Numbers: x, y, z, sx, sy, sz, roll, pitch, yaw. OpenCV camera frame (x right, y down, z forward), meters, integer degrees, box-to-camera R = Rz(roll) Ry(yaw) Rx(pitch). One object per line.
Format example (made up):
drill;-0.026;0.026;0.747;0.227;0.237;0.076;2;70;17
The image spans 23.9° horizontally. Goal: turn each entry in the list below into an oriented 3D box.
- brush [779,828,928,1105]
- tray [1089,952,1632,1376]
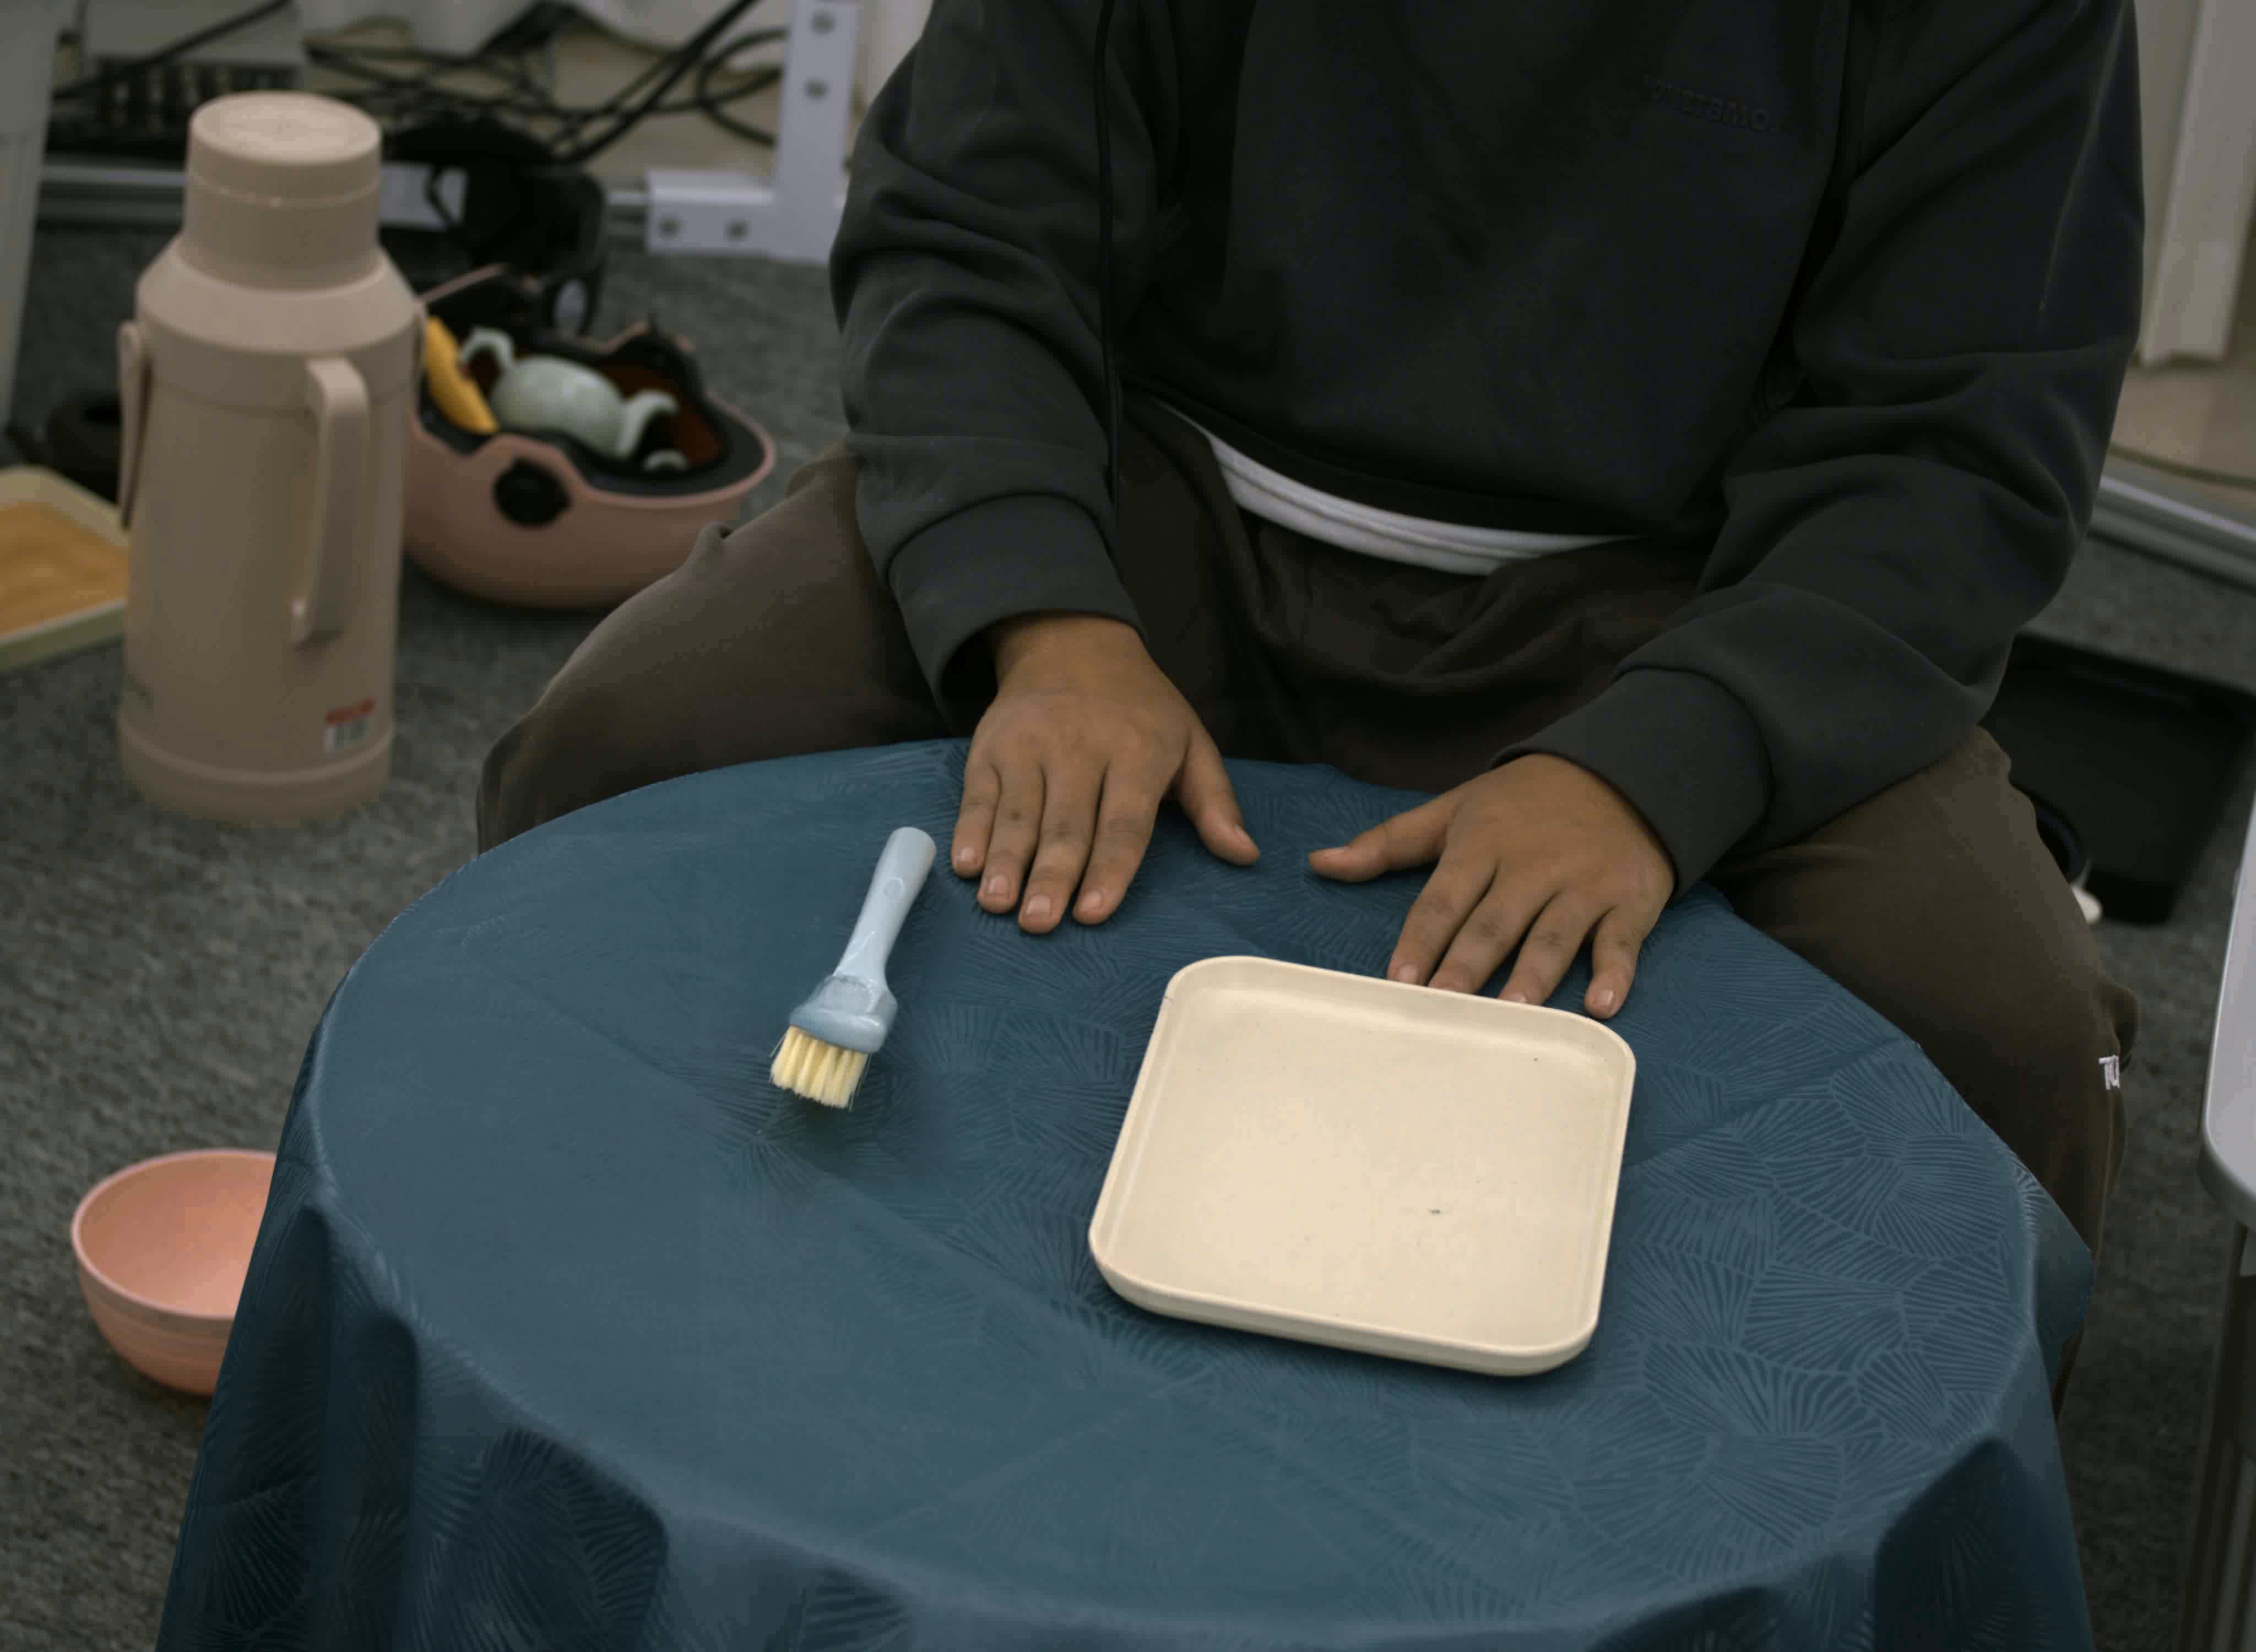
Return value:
brush;-0.096;0.049;1.896;0.037;0.049;0.229;20;19;-3
tray;0.082;0.114;1.824;0.171;0.017;0.240;10;27;5
